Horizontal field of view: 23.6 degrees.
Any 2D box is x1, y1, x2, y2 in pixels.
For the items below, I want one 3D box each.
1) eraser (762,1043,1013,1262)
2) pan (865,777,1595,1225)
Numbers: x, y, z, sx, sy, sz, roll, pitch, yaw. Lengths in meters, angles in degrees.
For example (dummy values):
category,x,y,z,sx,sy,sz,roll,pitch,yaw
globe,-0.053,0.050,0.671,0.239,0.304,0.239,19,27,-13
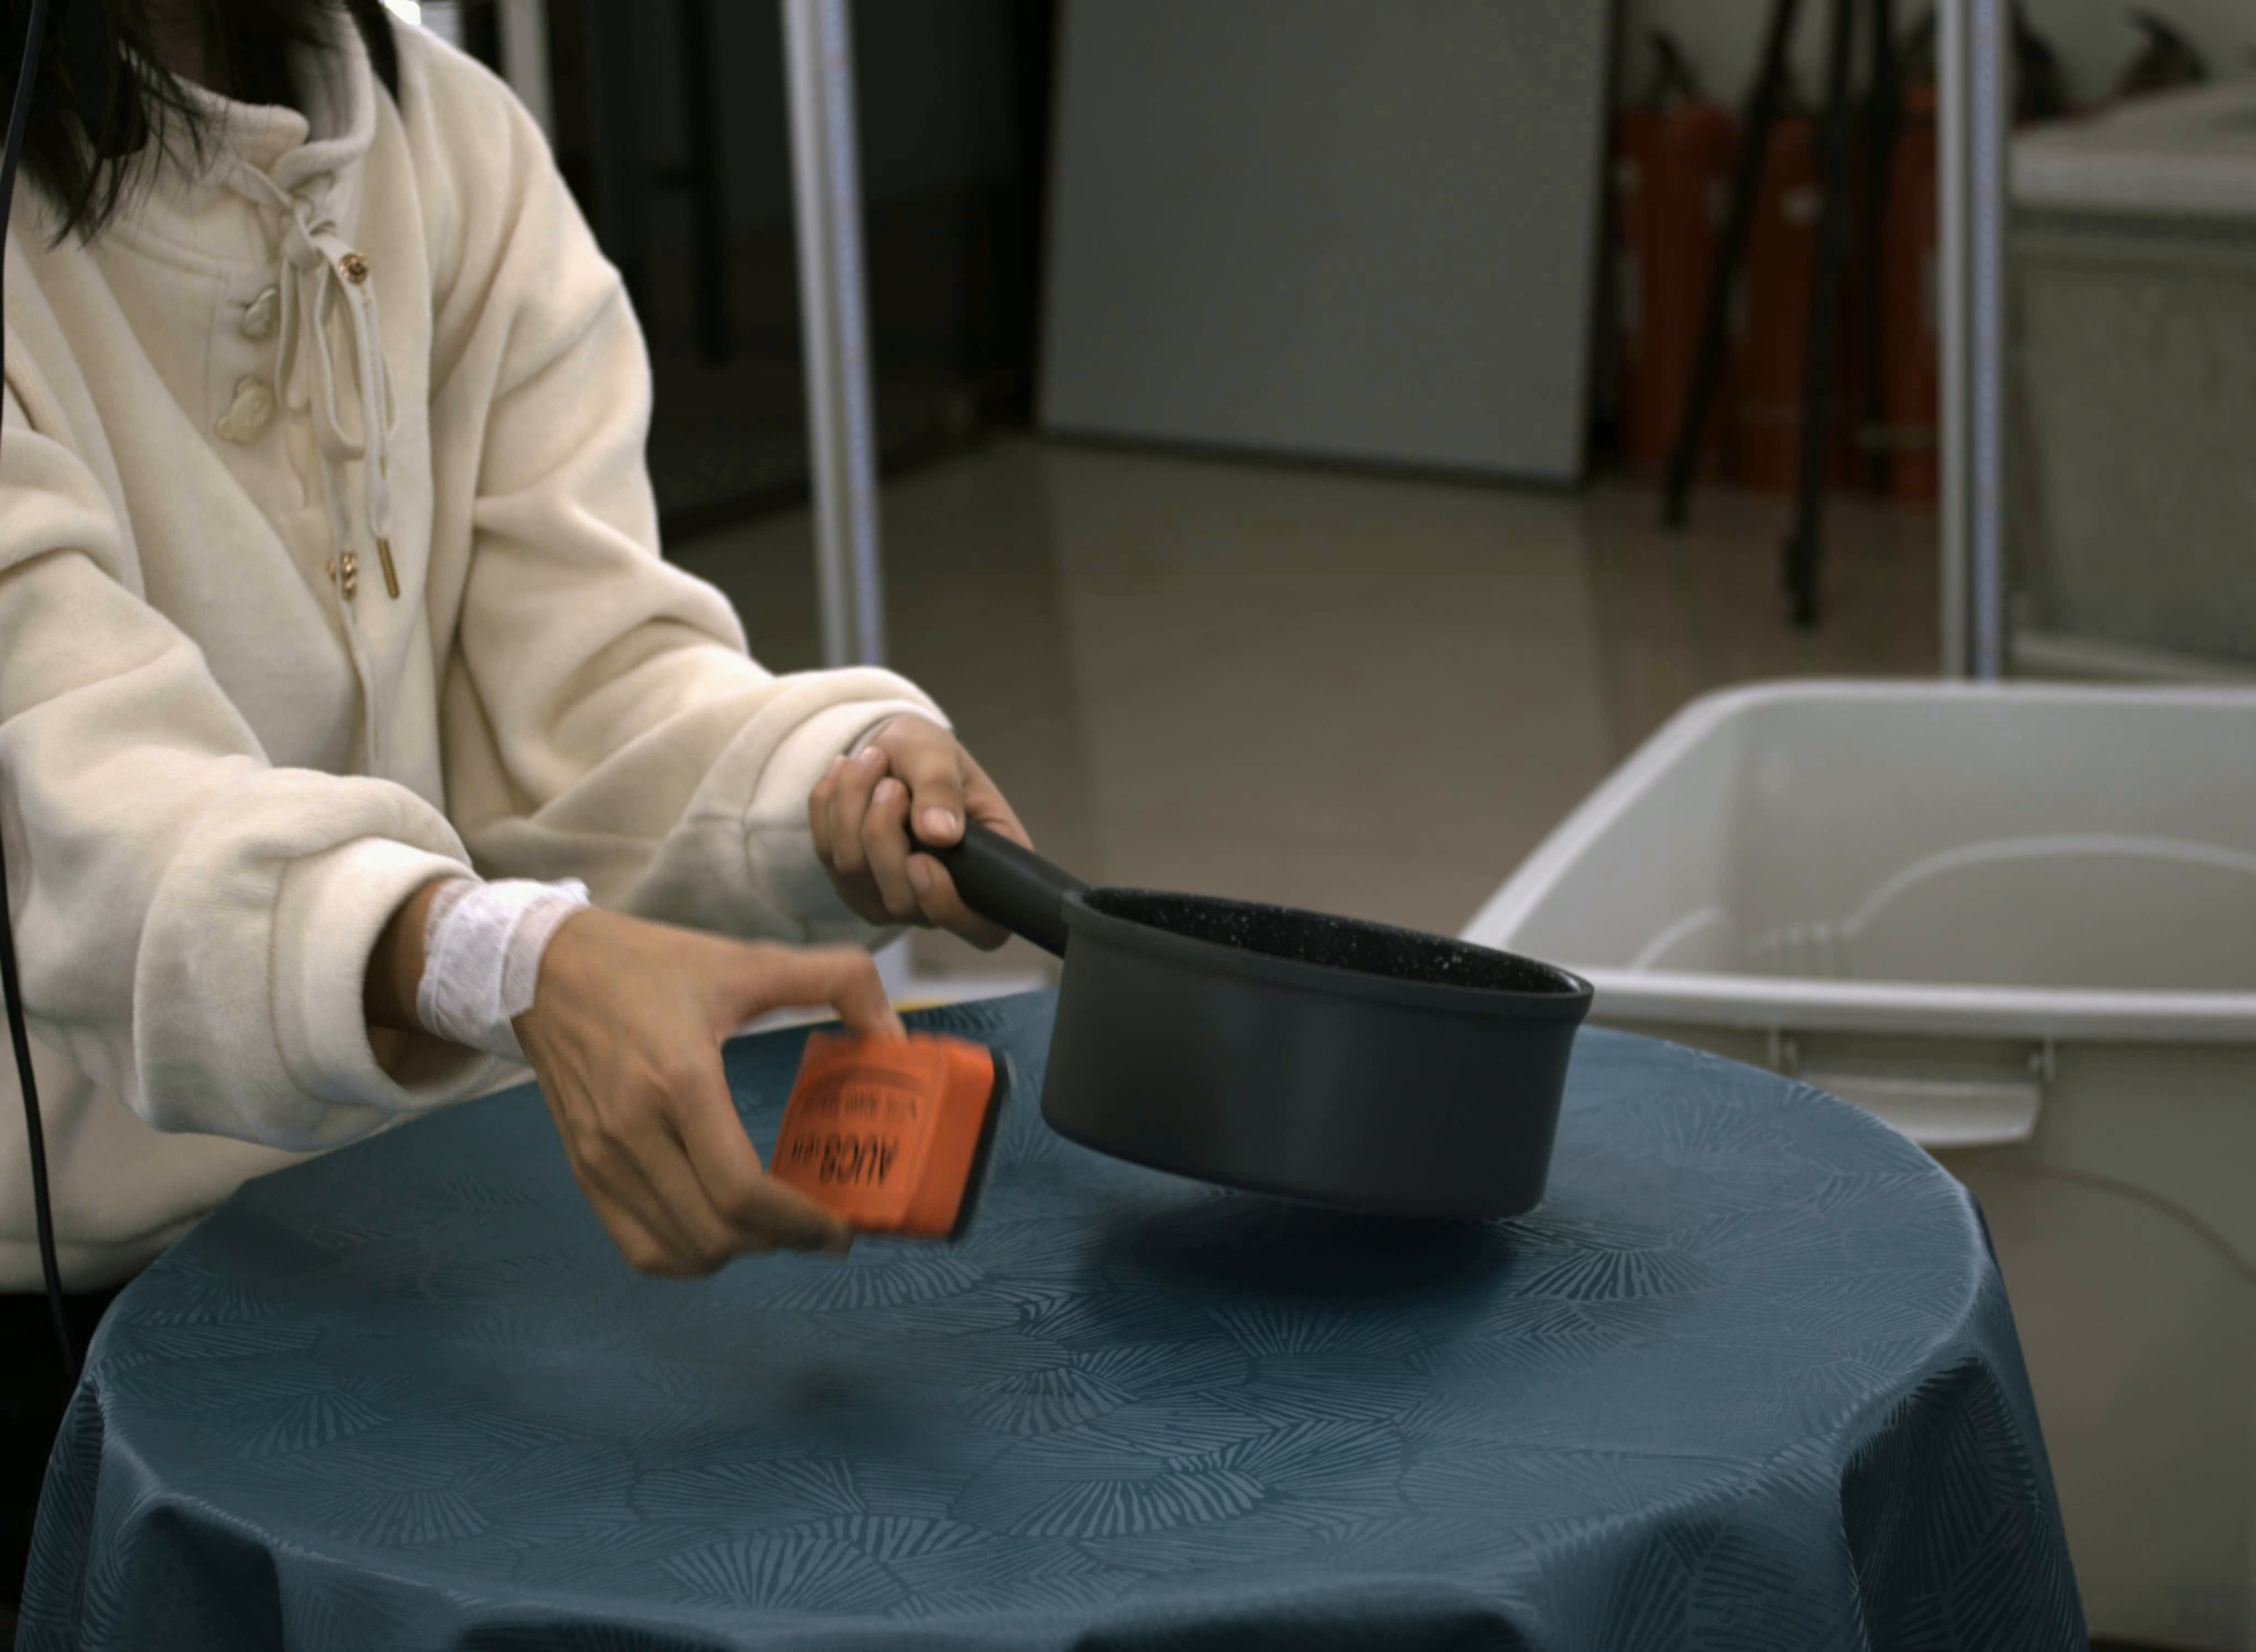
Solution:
category,x,y,z,sx,sy,sz,roll,pitch,yaw
eraser,-0.072,0.095,1.592,0.022,0.059,0.109,21,-10,-26
pan,0.010,0.055,1.758,0.168,0.087,0.332,6,7,-38
